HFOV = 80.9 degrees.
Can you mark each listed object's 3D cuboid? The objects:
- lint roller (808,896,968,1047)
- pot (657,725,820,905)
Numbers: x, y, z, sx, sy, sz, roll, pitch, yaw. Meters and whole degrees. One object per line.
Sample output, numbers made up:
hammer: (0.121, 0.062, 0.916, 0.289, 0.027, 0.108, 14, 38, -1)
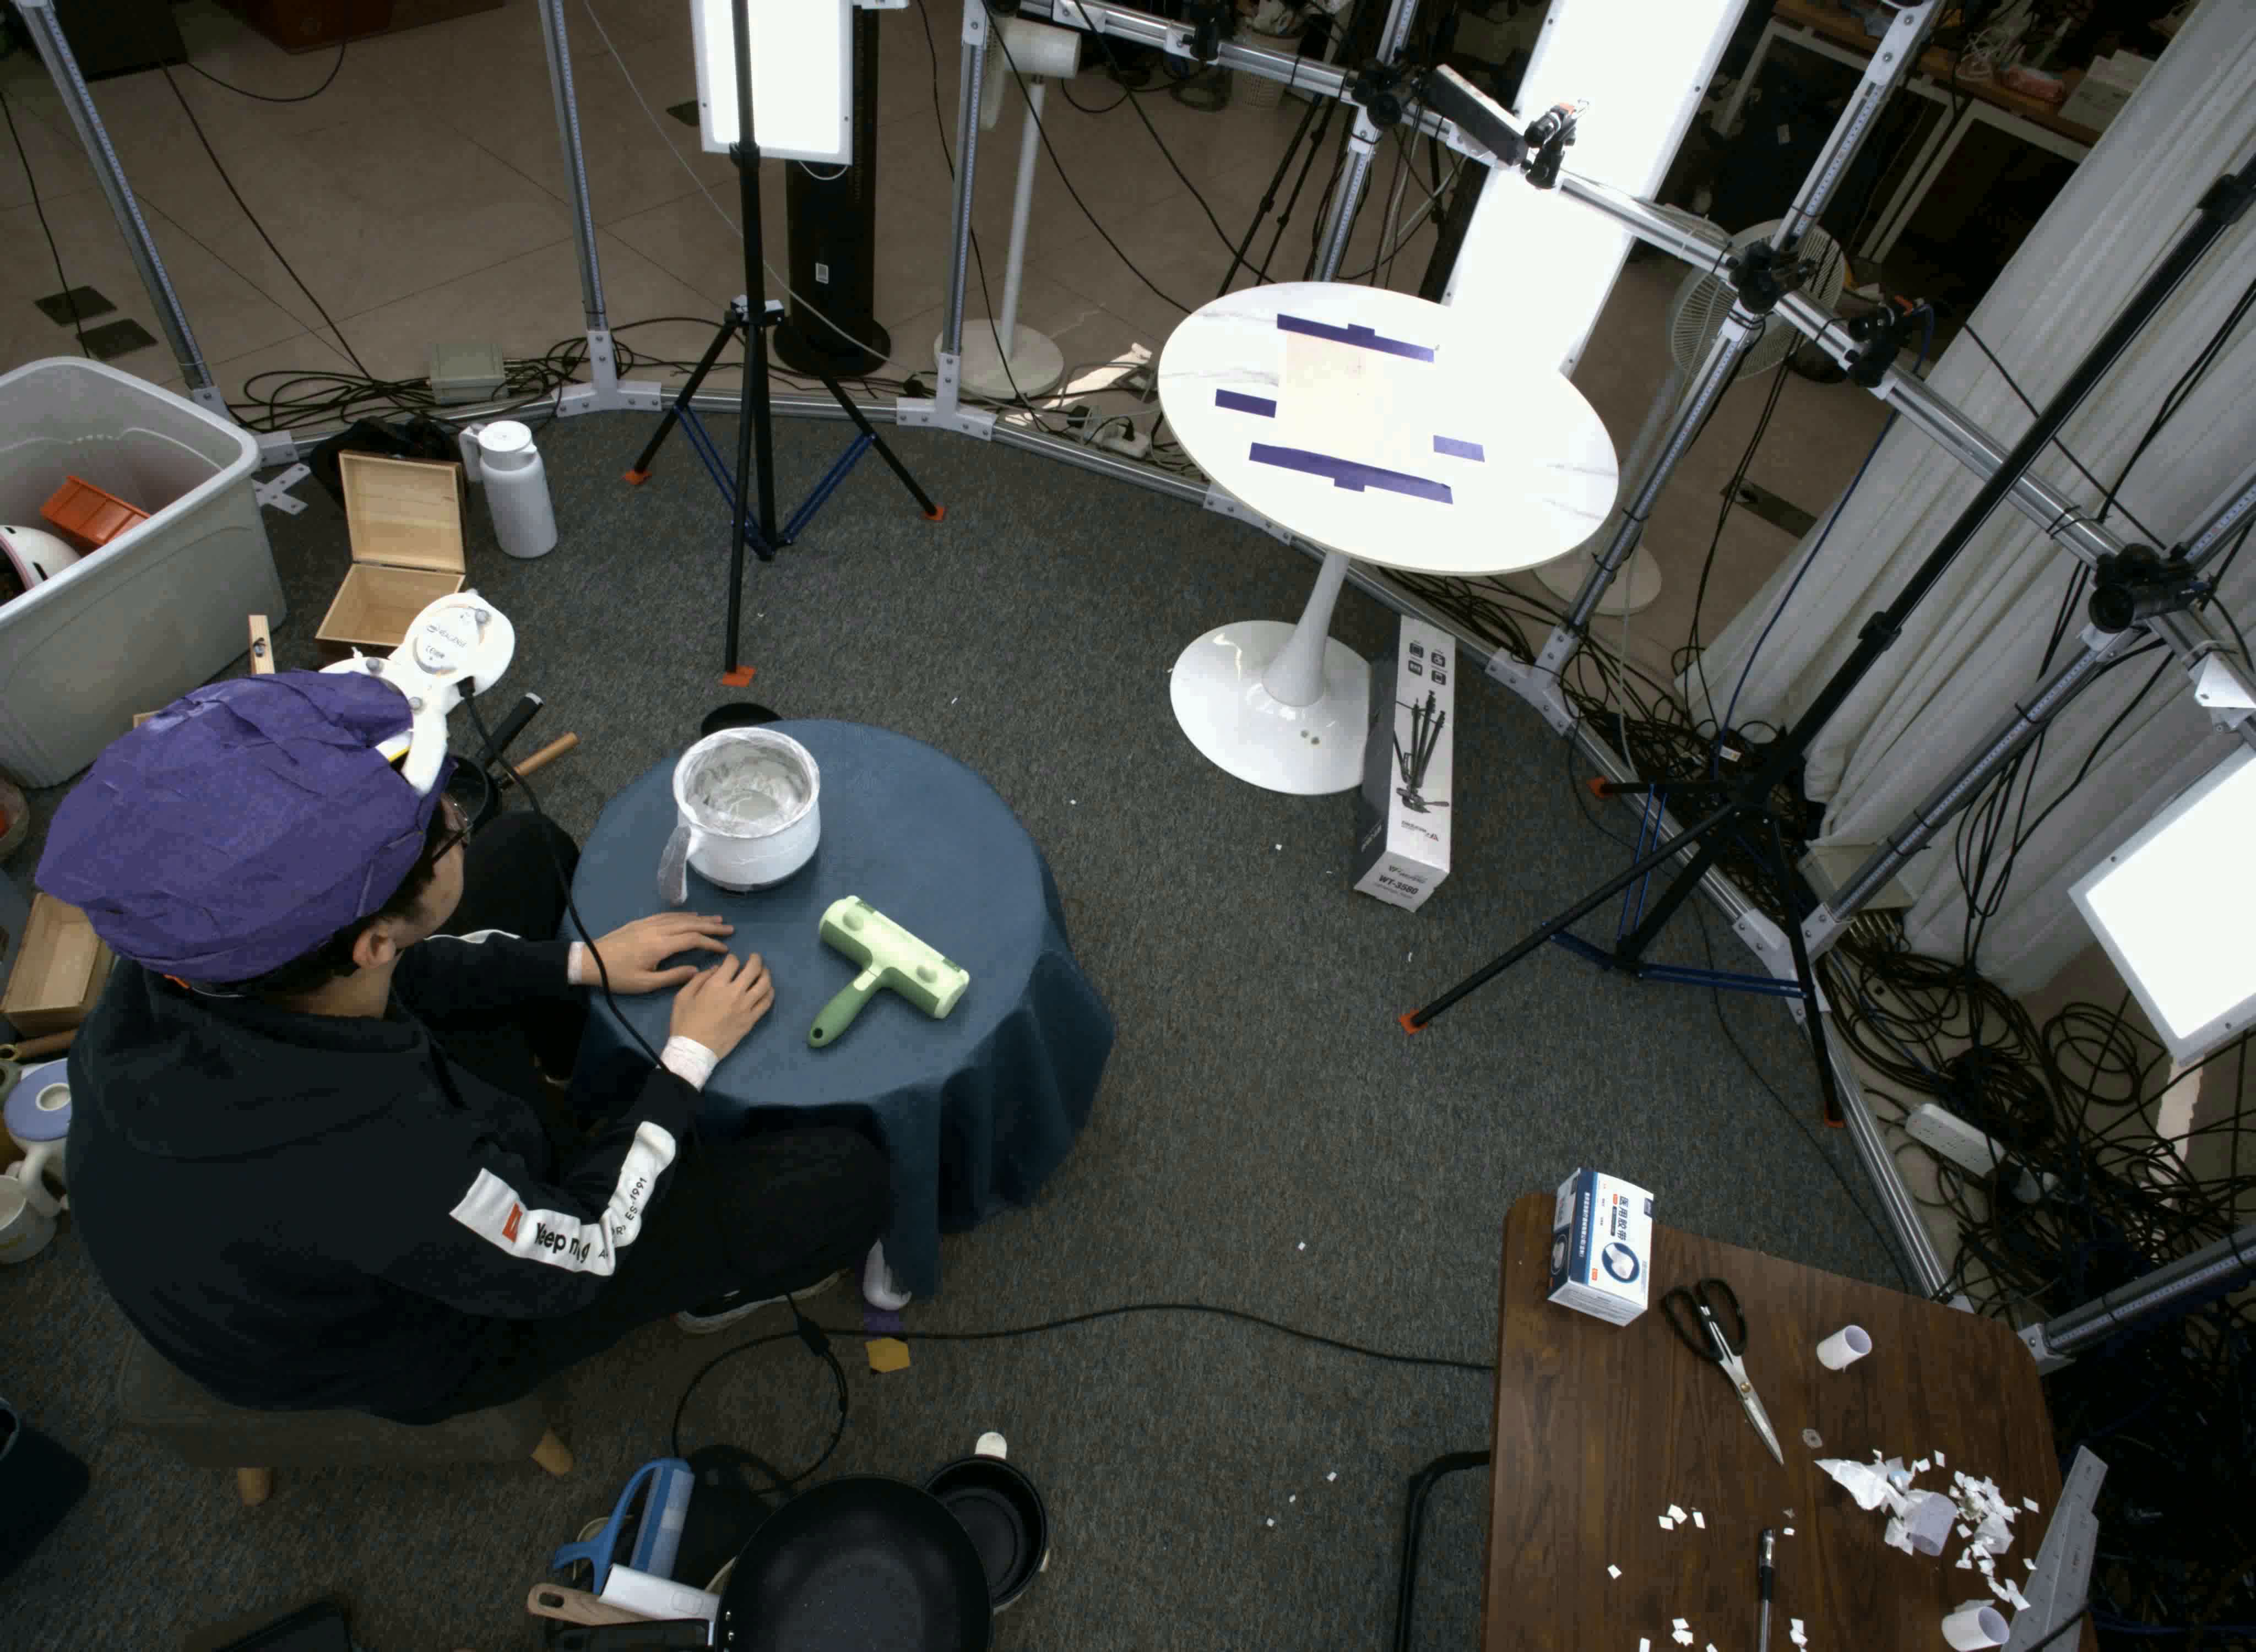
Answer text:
lint roller: (-0.321, 0.186, 1.571, 0.195, 0.084, 0.183, 33, 48, 11)
pot: (-0.497, -0.003, 1.625, 0.175, 0.139, 0.233, 34, 53, 13)
